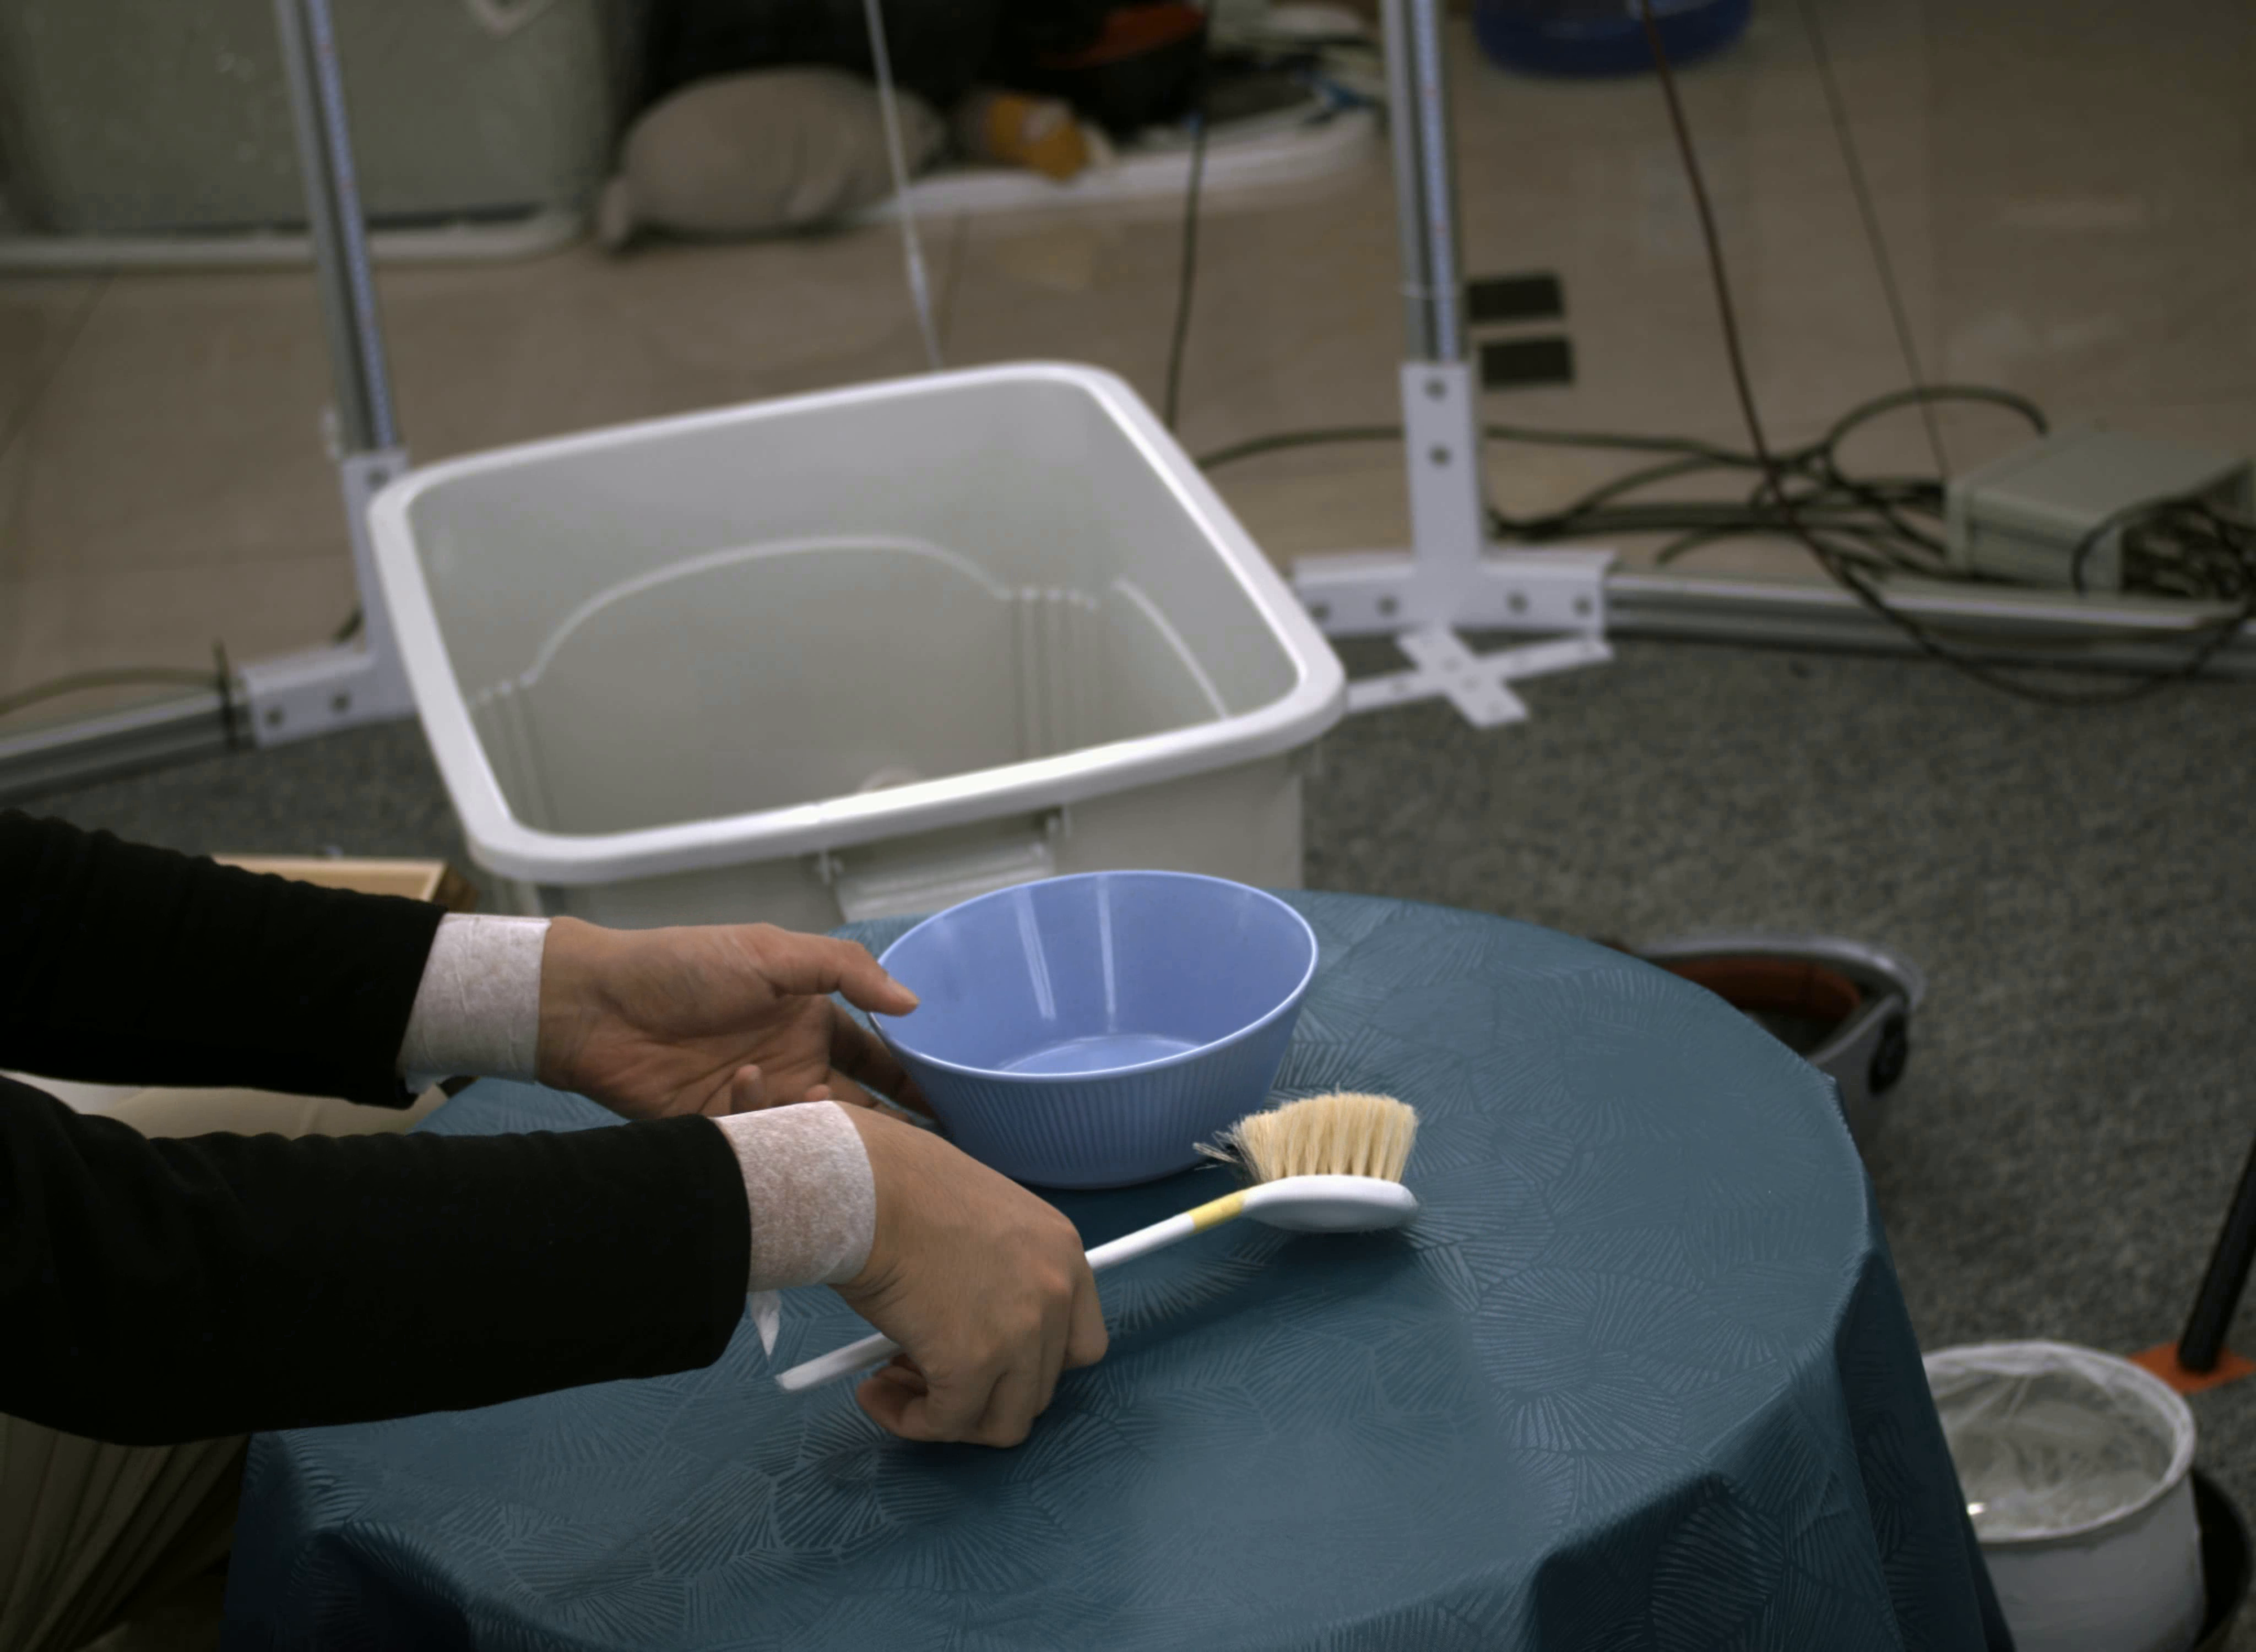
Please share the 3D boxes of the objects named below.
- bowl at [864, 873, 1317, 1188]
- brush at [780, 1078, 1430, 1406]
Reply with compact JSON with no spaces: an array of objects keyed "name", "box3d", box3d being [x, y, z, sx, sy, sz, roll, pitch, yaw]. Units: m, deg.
[{"name":"bowl","box3d":[-0.011,0.084,2.182,0.176,0.071,0.173,-6,24,3]},{"name":"brush","box3d":[-0.012,0.145,2.034,0.265,0.056,0.069,-15,-15,-24]}]
